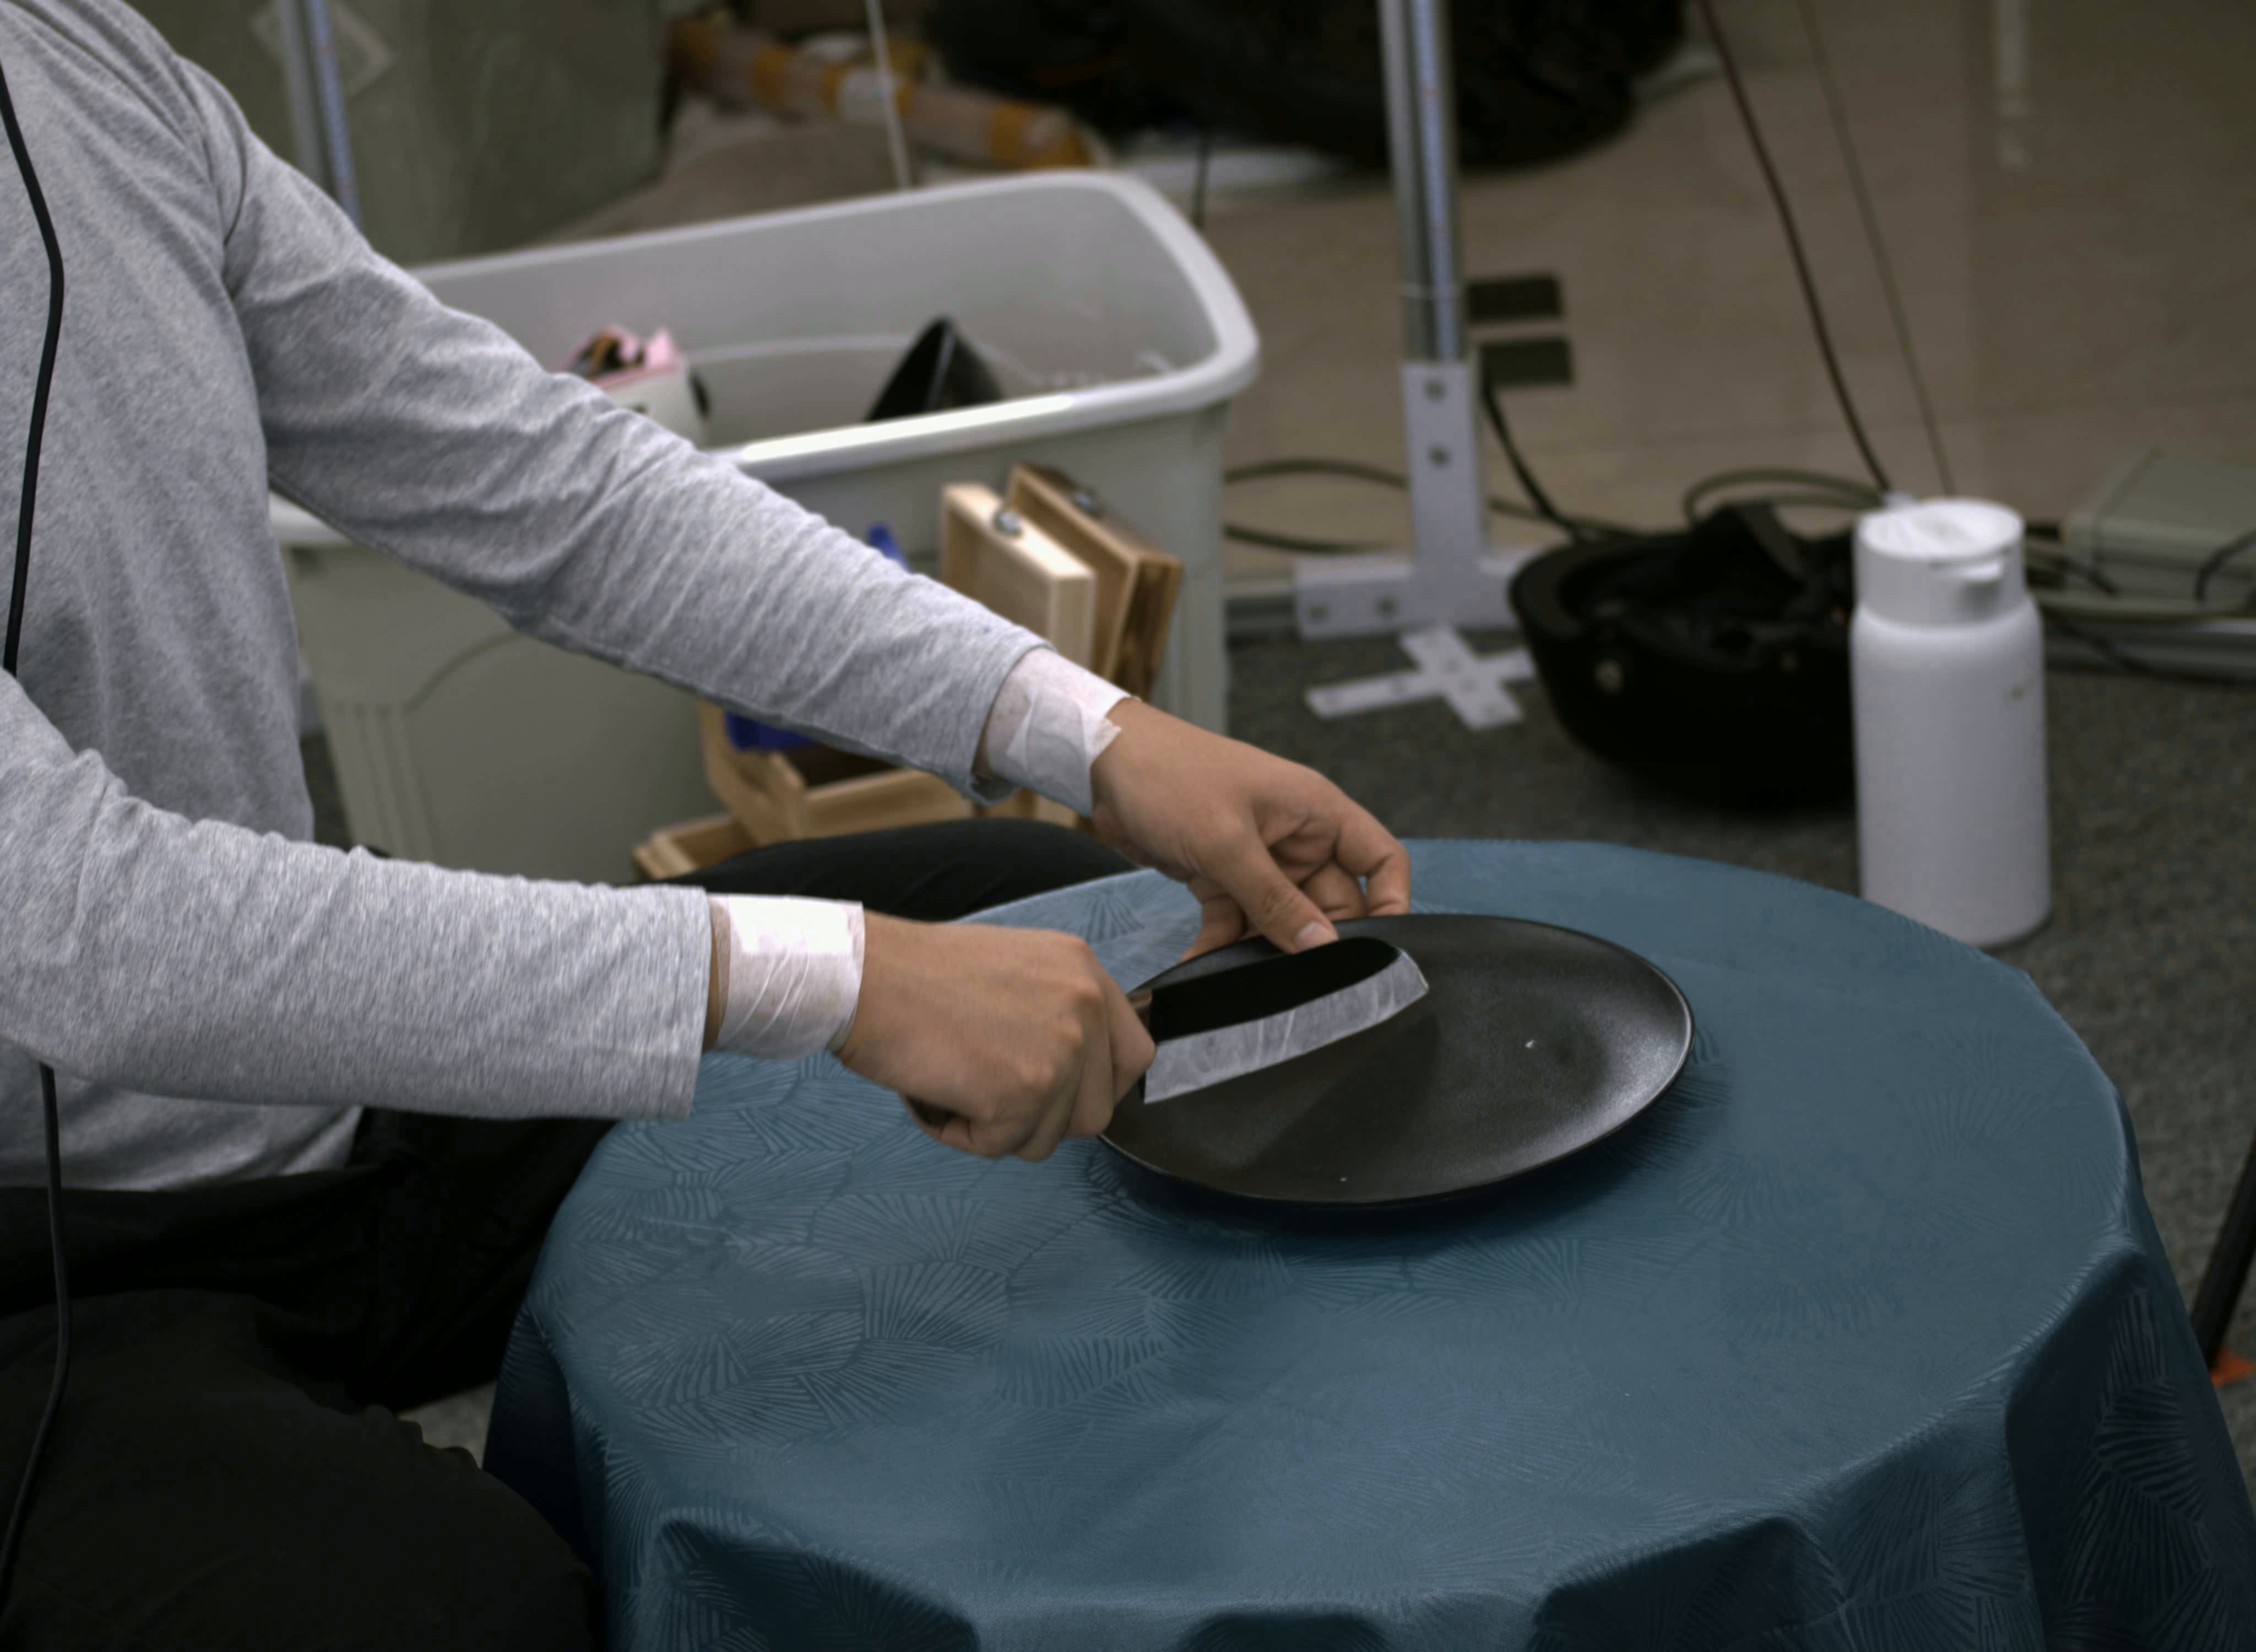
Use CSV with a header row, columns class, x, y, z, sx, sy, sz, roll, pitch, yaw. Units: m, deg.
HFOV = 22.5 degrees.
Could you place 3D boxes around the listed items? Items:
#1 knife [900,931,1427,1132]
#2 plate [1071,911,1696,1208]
class,x,y,z,sx,sy,sz,roll,pitch,yaw
knife,0.020,0.079,2.142,0.020,0.051,0.288,15,18,41
plate,0.099,0.095,2.194,0.244,0.024,0.241,-6,25,3
